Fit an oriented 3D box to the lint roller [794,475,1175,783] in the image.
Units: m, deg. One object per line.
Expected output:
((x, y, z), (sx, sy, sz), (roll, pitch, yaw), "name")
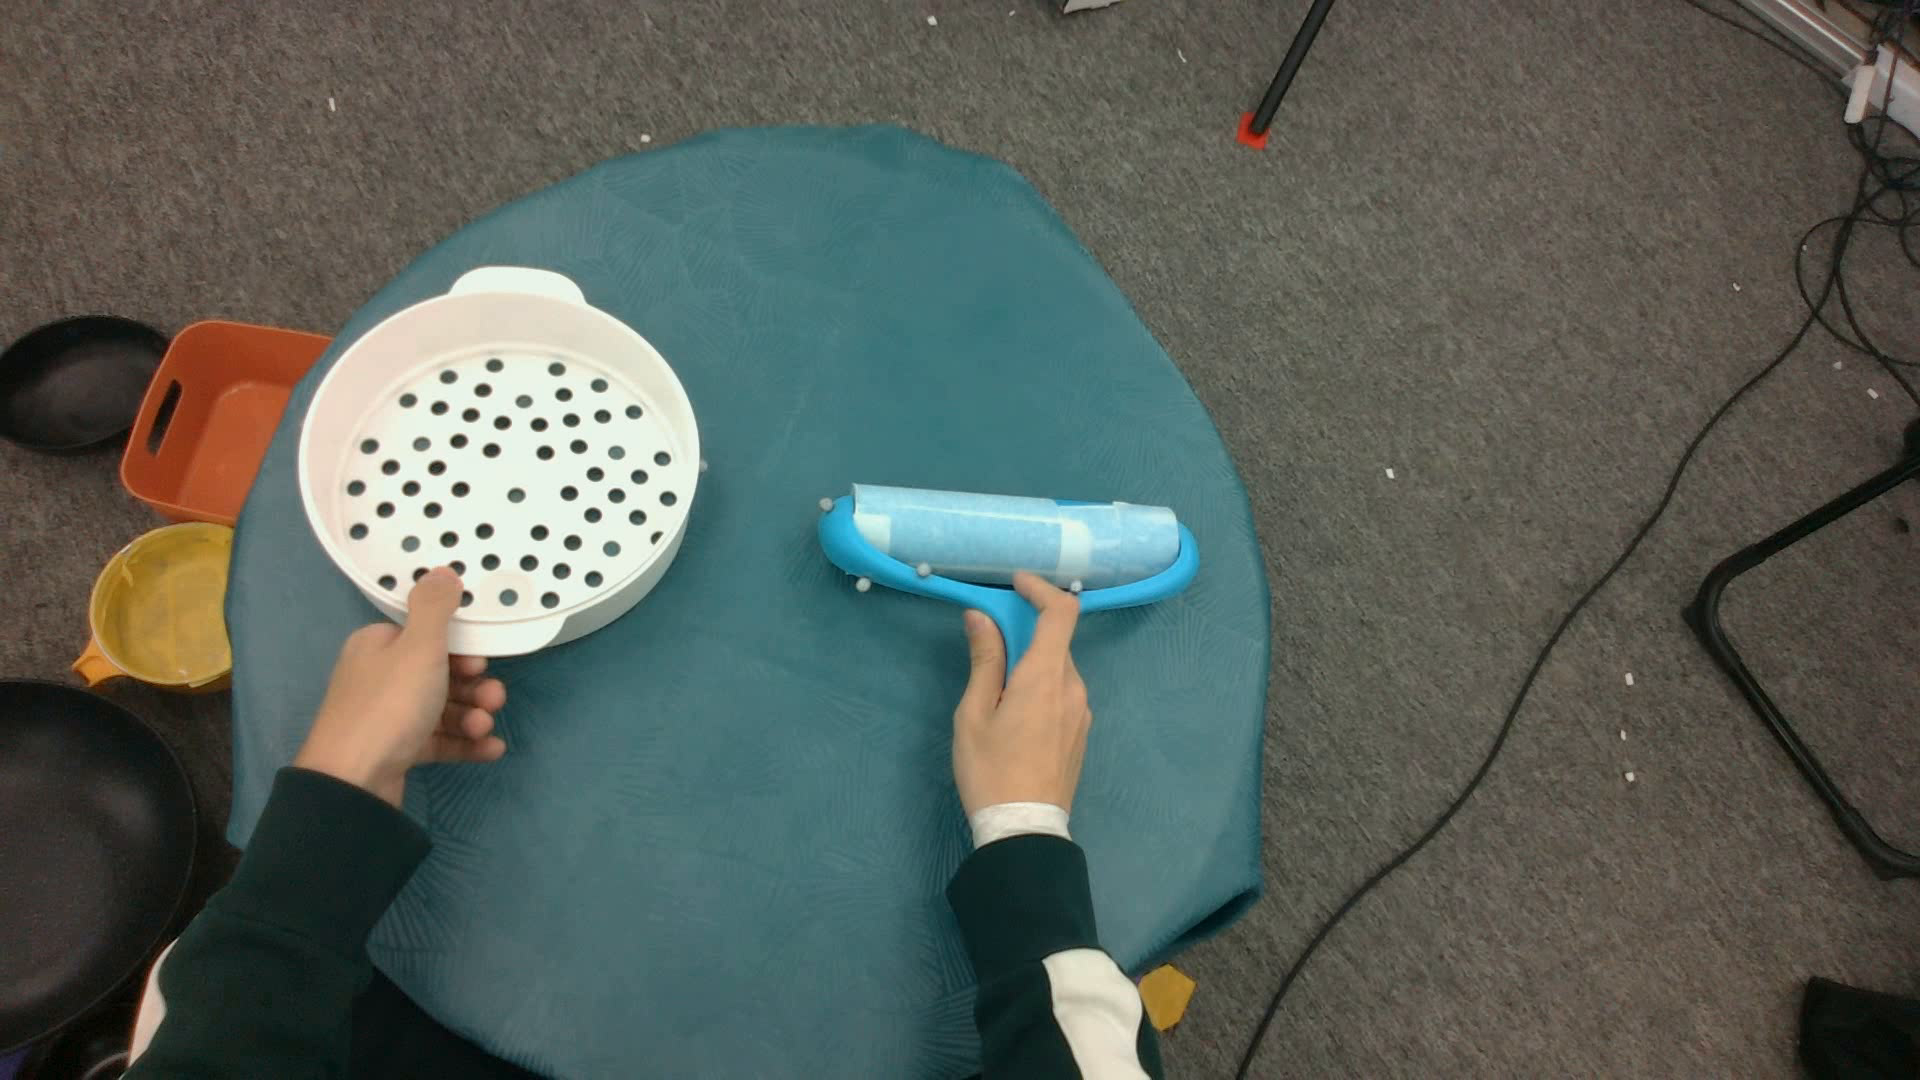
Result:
((0.024, 0.044, 0.792), (0.229, 0.067, 0.181), (-1, 66, -15), "lint roller")

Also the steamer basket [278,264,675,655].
((-0.260, -0.039, 0.760), (0.202, 0.069, 0.231), (-1, 68, -12), "steamer basket")
